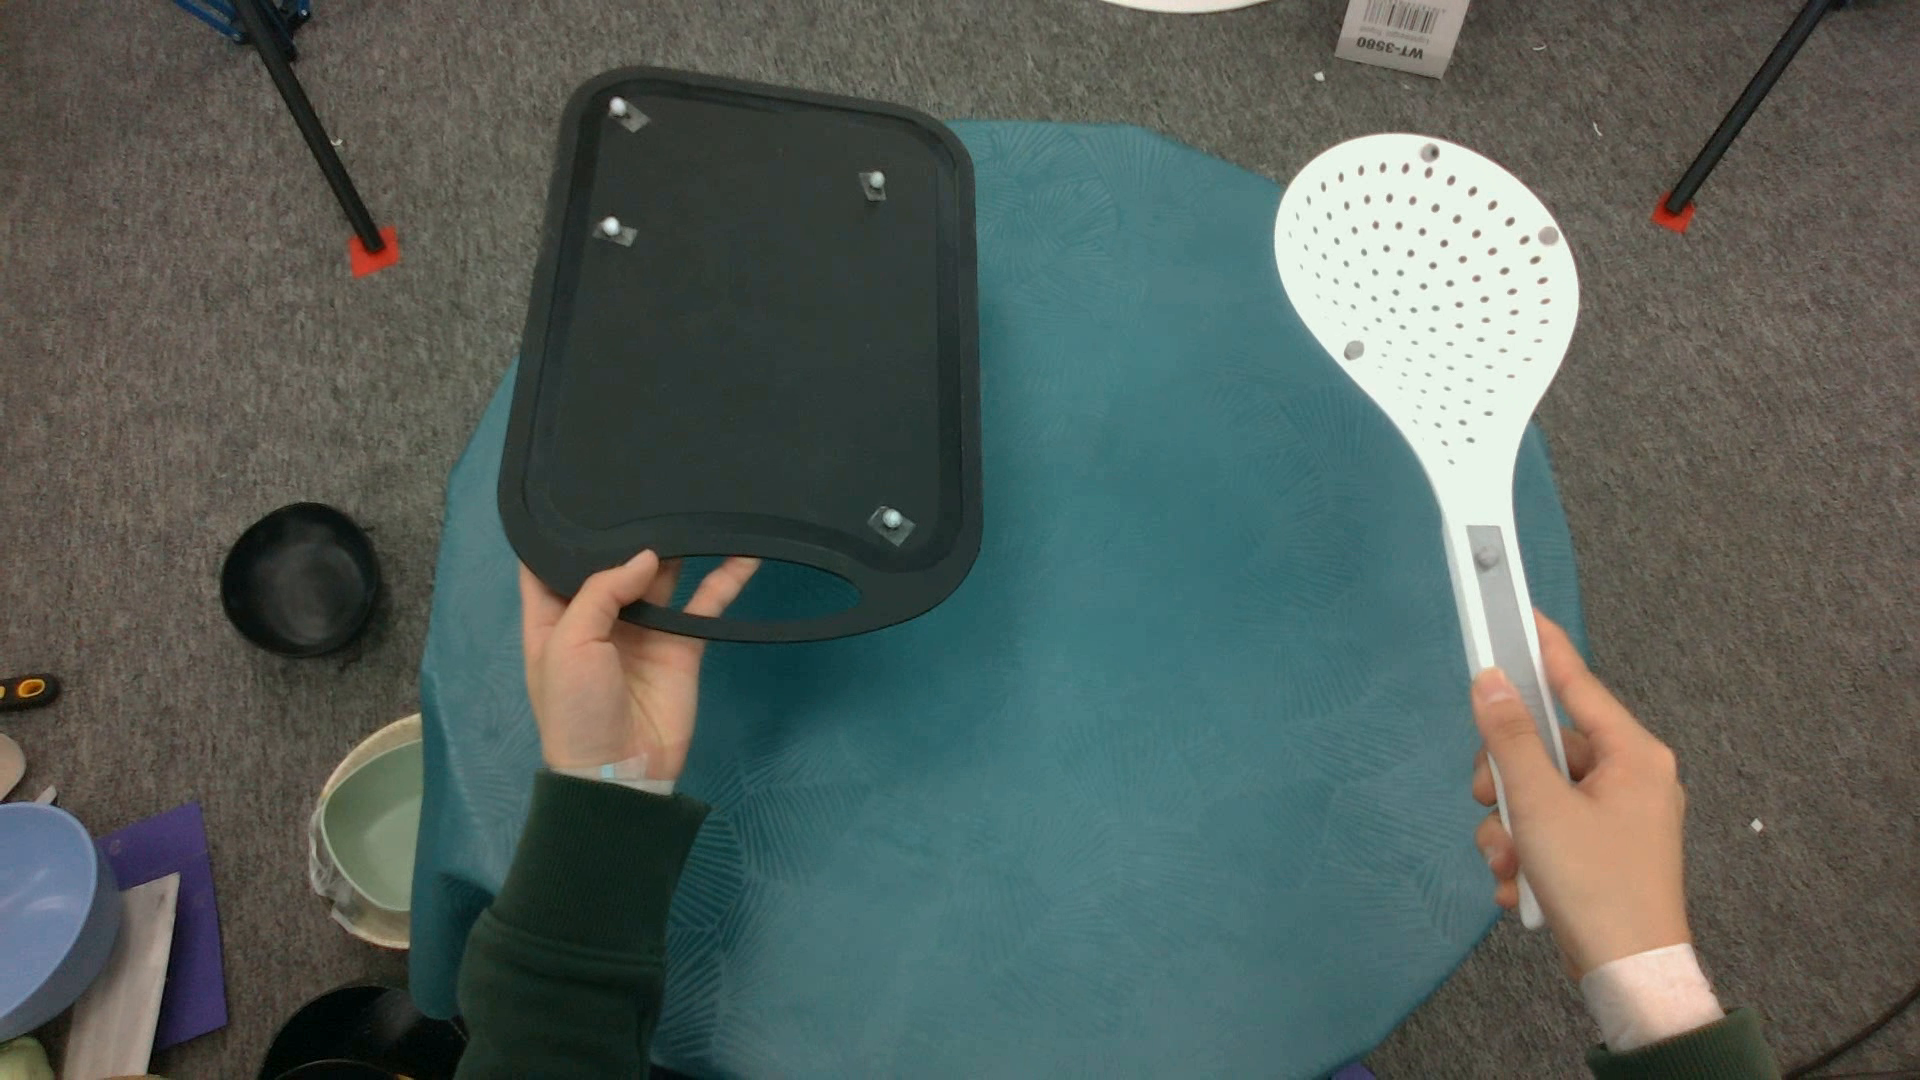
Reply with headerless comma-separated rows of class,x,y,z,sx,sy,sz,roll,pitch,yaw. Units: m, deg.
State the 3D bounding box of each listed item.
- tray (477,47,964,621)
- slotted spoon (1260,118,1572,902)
tray,-0.102,-0.110,0.647,0.211,0.010,0.326,5,60,-11
slotted spoon,0.203,-0.029,0.573,0.136,0.045,0.351,0,62,-8
